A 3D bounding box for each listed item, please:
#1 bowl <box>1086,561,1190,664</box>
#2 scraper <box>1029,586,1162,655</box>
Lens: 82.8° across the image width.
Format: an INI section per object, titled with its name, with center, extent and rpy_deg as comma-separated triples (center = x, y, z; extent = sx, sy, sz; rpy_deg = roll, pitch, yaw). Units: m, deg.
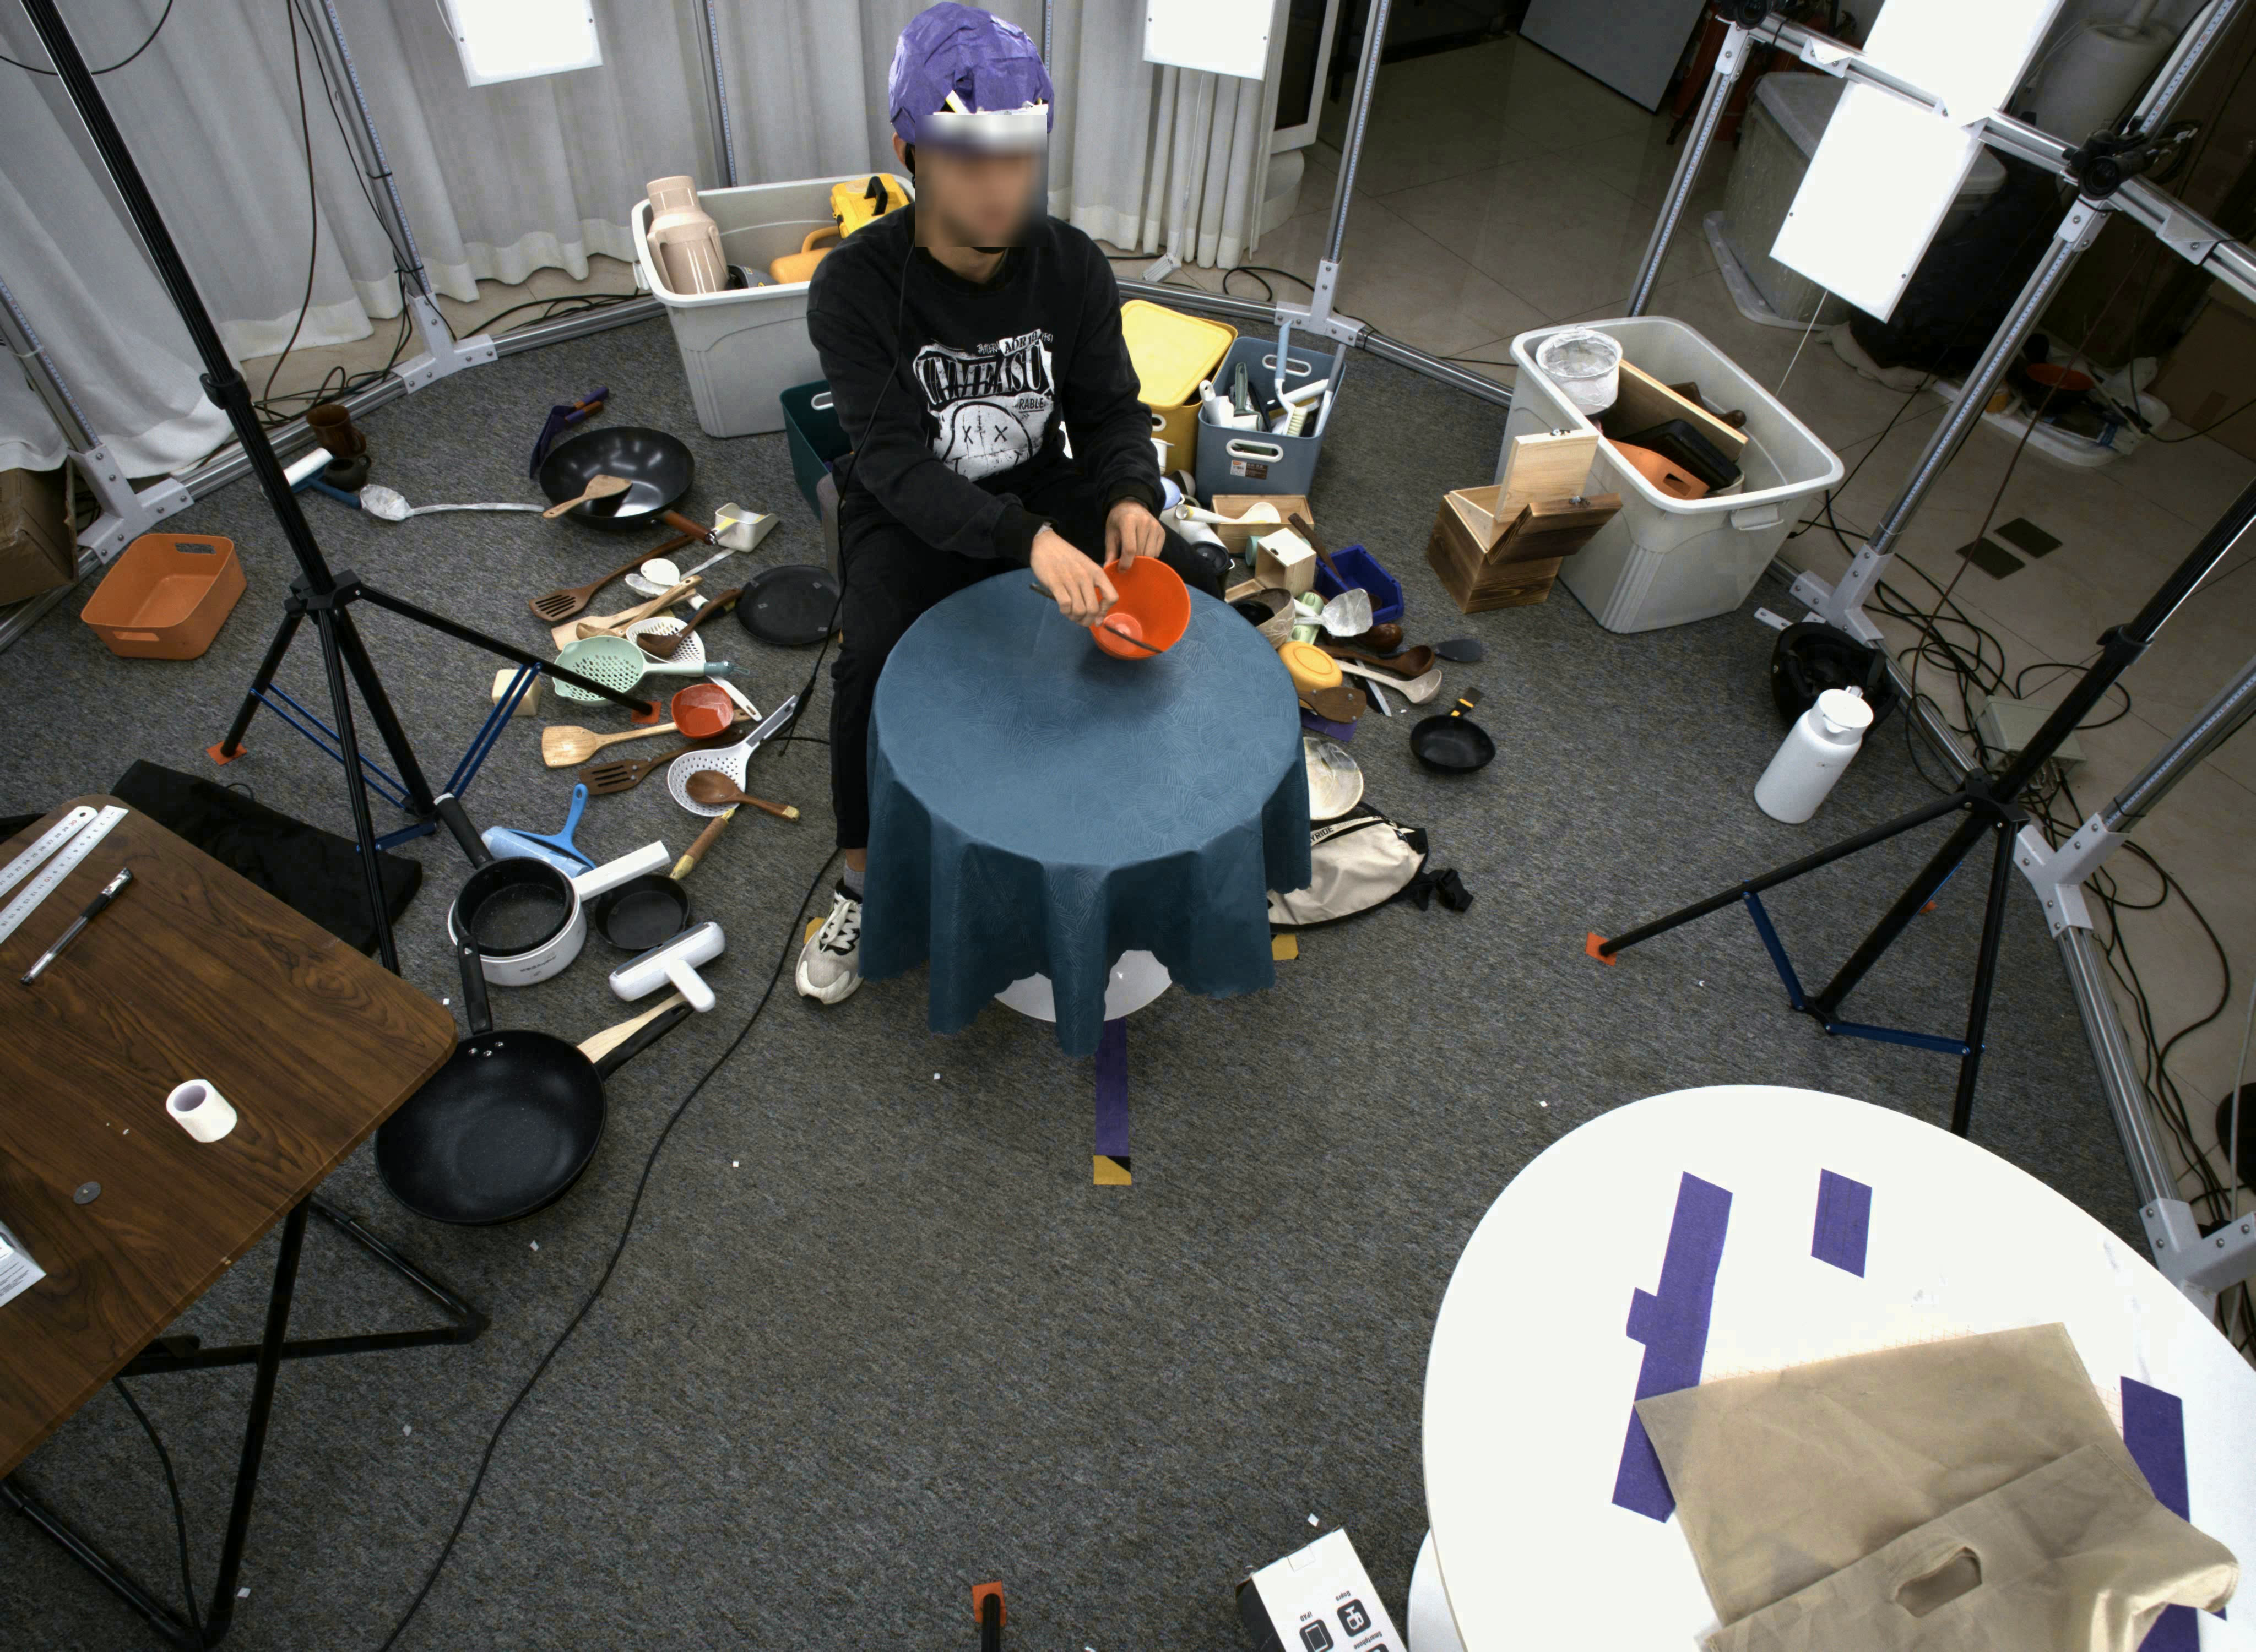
[bowl]
center = 0.008, -0.297, 1.866
extent = 0.147, 0.103, 0.150
rpy_deg = 3, 73, -10
[scraper]
center = -0.047, -0.283, 1.782
extent = 0.208, 0.011, 0.077
rpy_deg = 24, 7, -29
